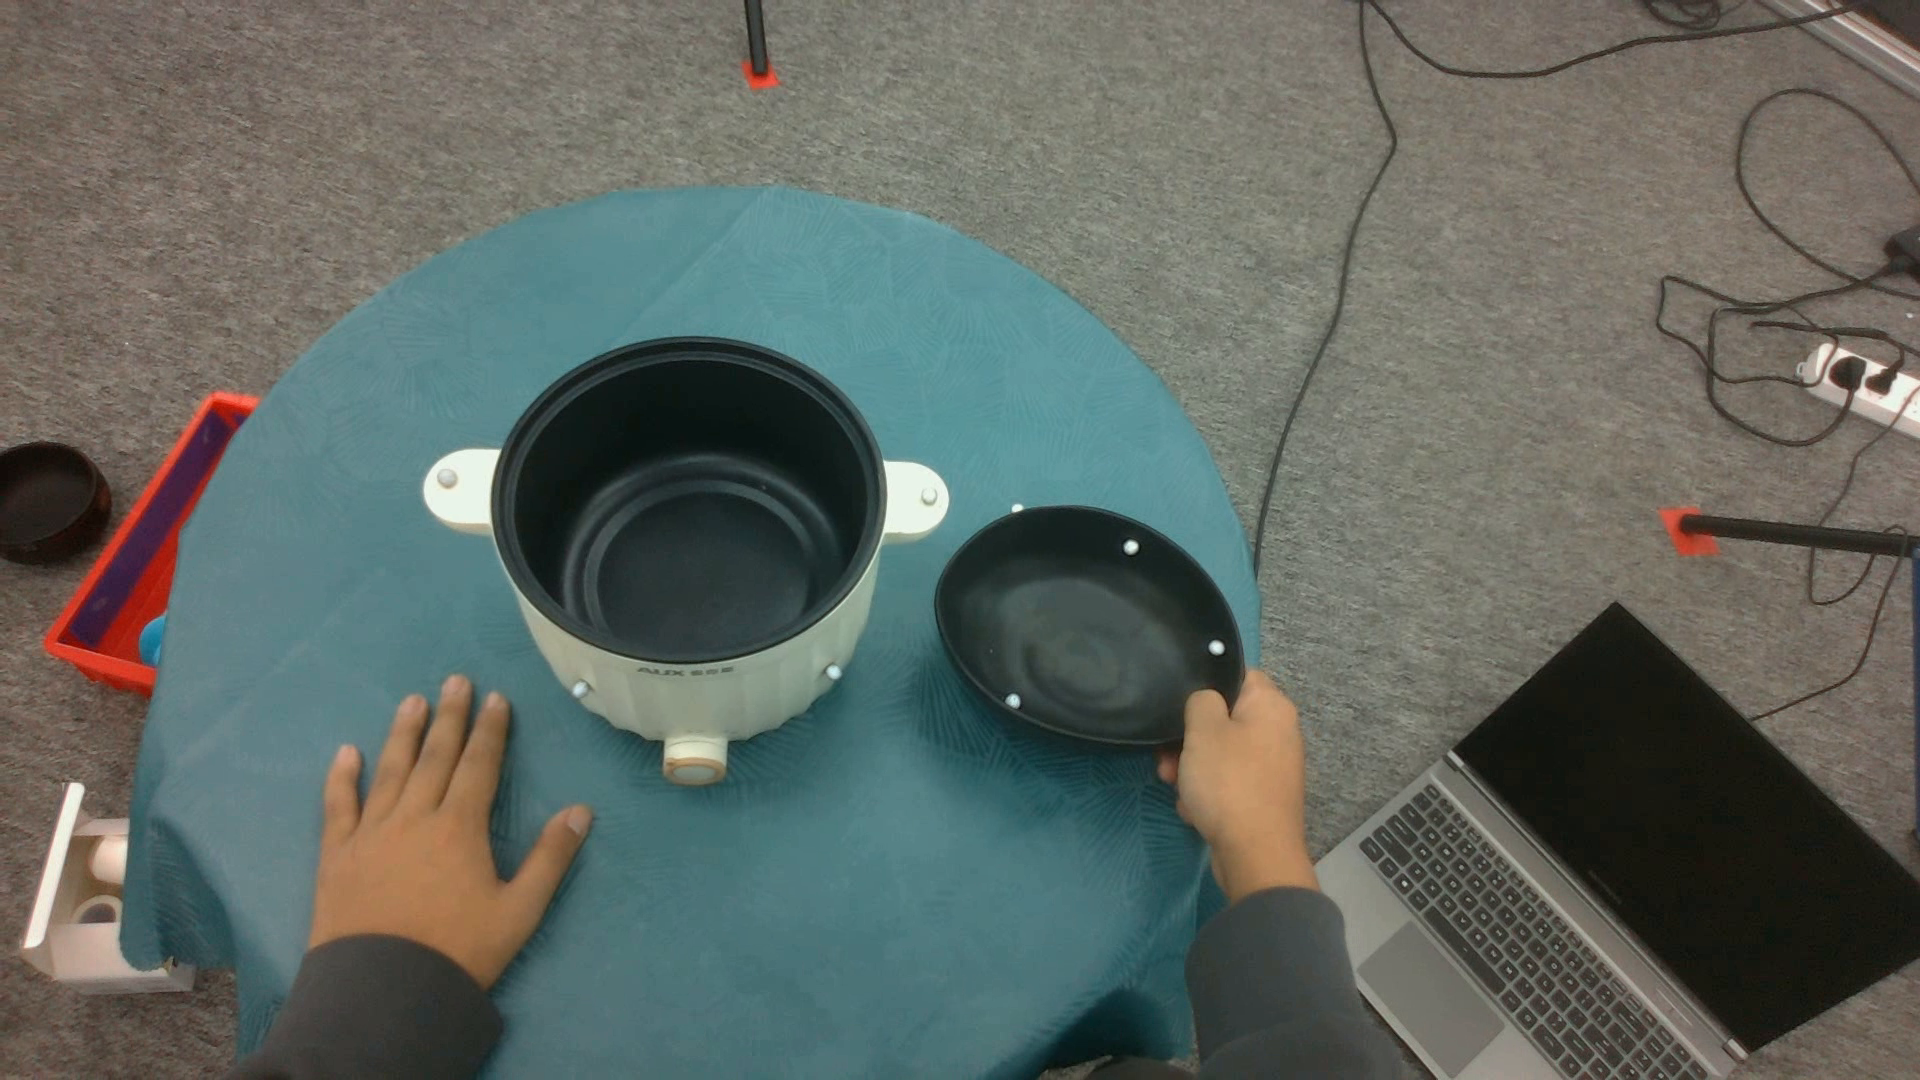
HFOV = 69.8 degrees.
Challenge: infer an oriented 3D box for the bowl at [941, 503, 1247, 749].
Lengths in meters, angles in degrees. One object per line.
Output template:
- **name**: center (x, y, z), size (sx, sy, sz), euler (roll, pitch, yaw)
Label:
- **bowl**: center (0.071, 0.055, 0.753), size (0.170, 0.066, 0.138), euler (16, 59, 3)

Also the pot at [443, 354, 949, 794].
- **pot**: center (-0.127, 0.021, 0.712), size (0.240, 0.142, 0.191), euler (-3, 56, -6)
